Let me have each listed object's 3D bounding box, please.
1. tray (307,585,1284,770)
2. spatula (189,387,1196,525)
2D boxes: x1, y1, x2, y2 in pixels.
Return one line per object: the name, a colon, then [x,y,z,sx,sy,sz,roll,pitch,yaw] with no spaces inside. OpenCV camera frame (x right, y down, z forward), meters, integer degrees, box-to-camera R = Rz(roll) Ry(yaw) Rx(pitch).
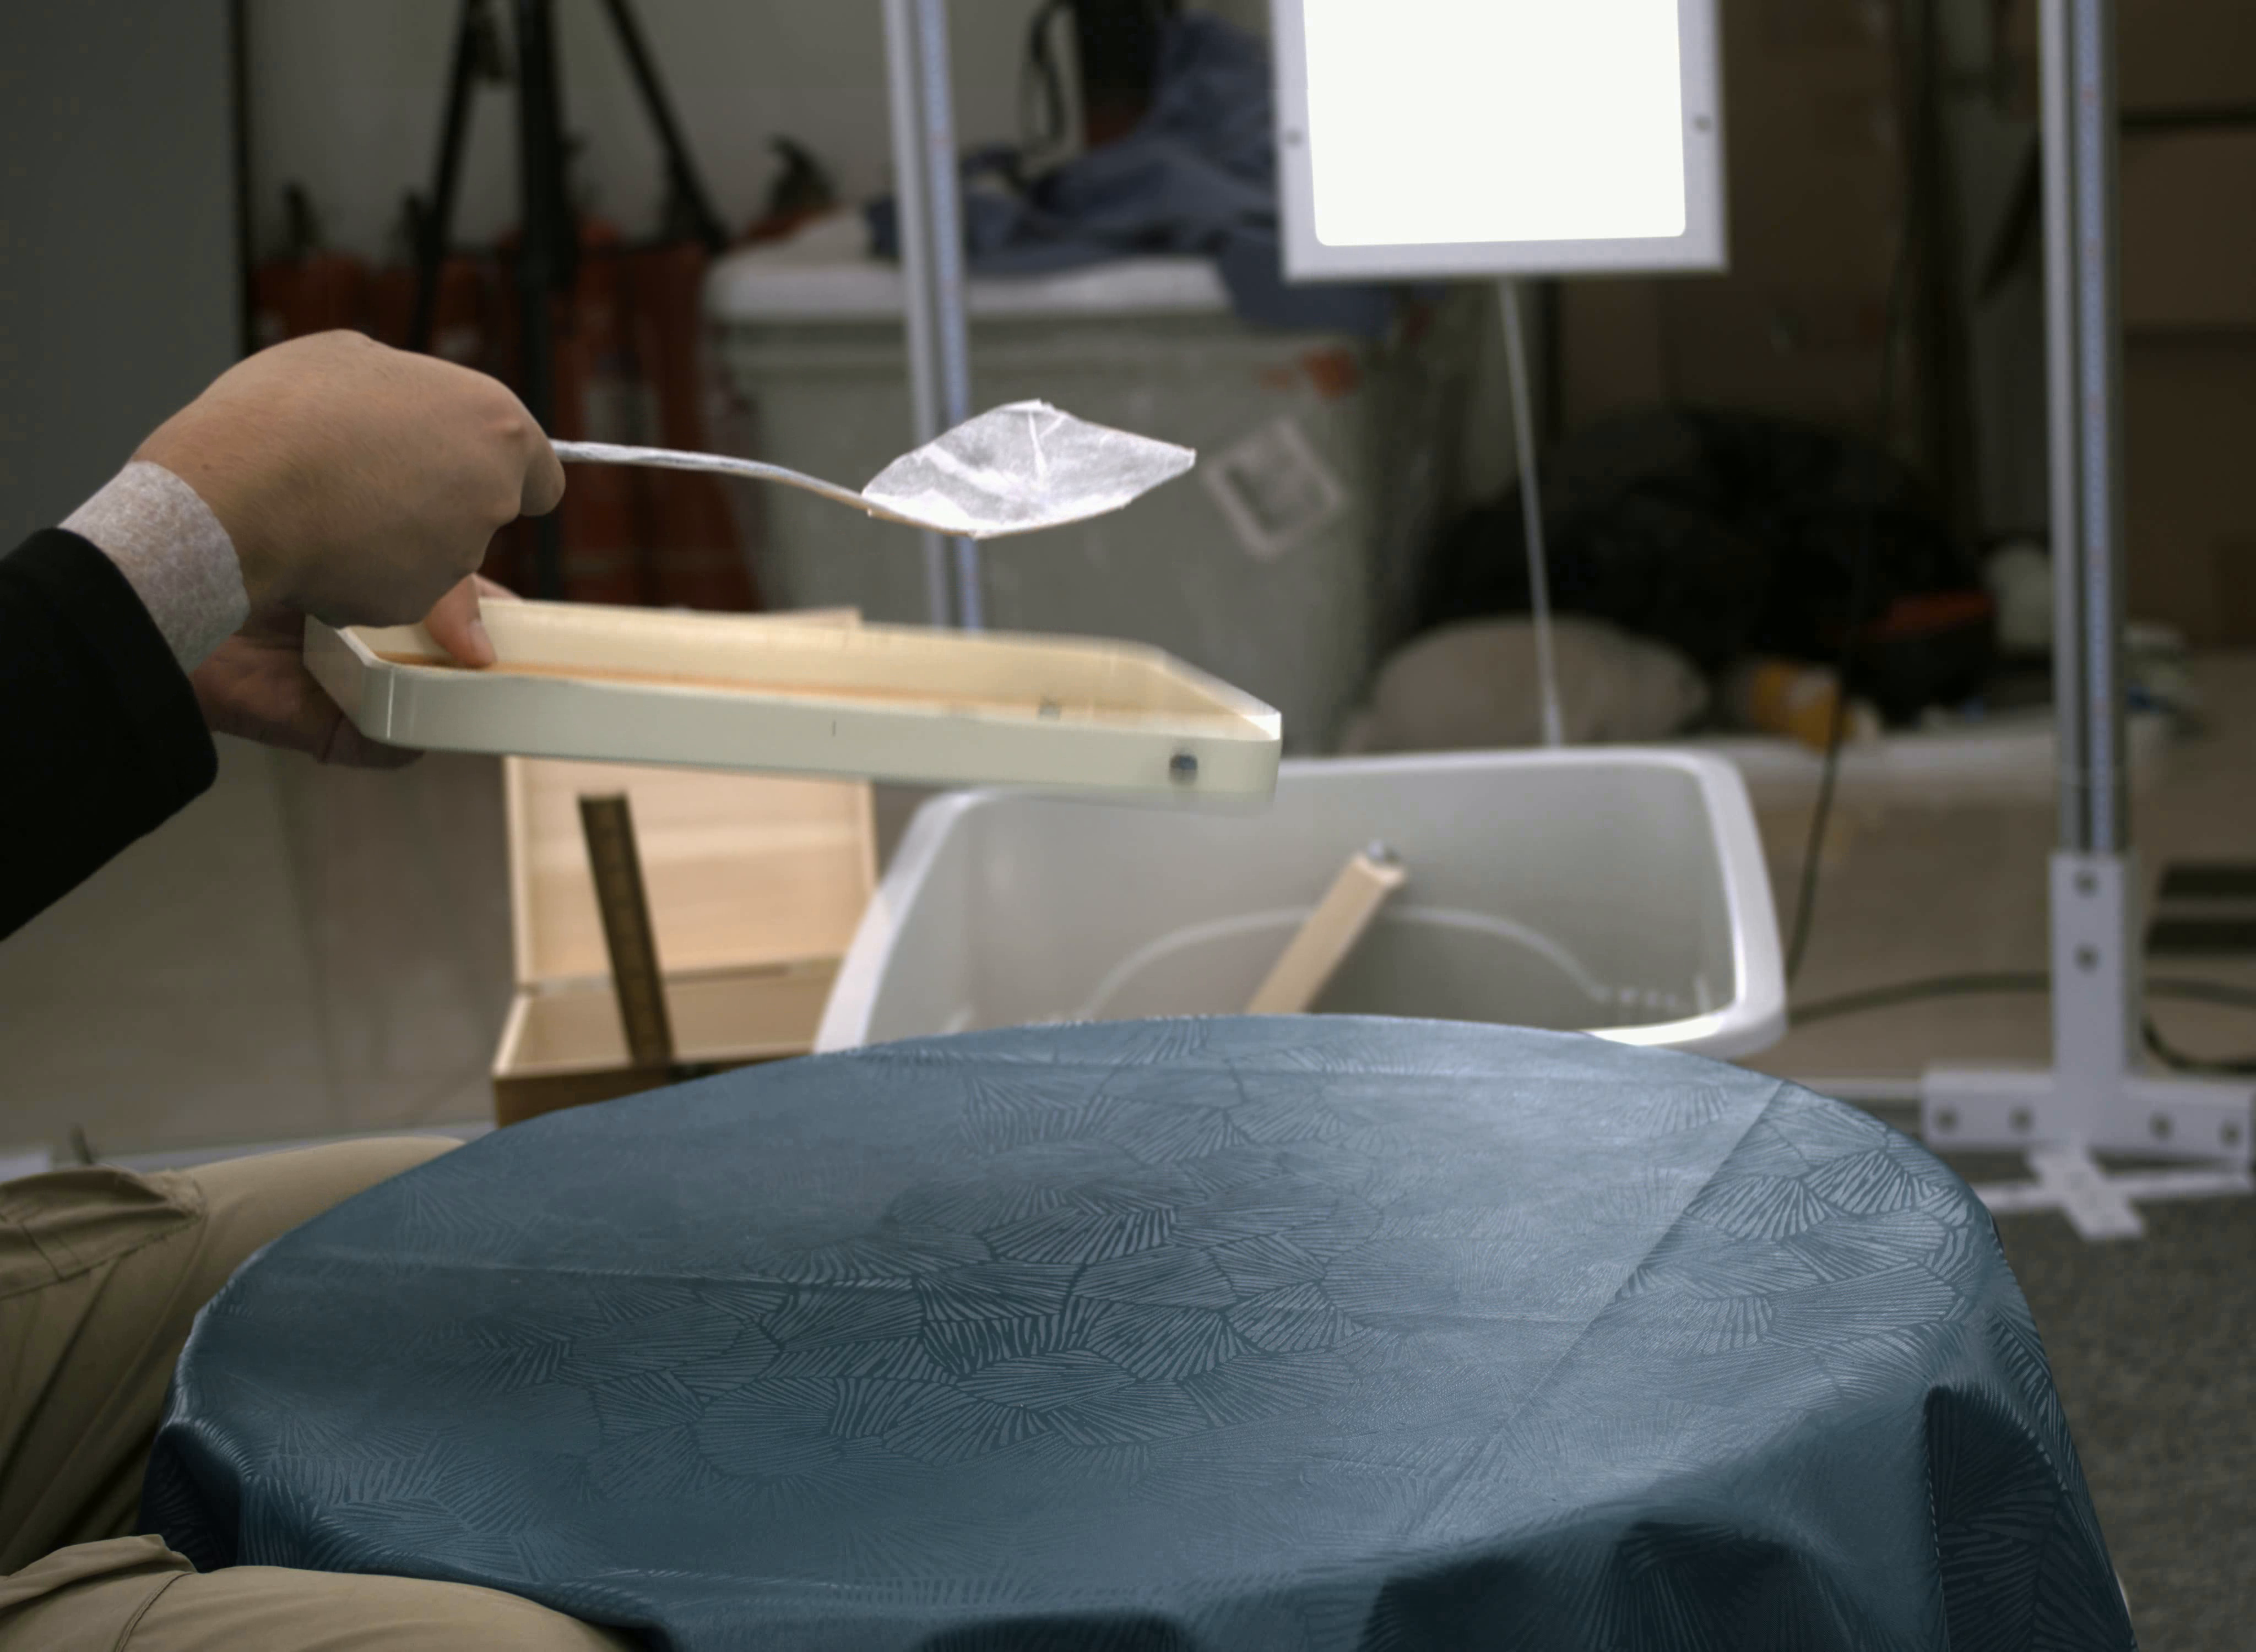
tray: [-0.114,-0.049,1.820,0.296,0.027,0.193,2,9,-13]
spatula: [-0.132,-0.120,1.722,0.355,0.045,0.100,1,14,-43]
